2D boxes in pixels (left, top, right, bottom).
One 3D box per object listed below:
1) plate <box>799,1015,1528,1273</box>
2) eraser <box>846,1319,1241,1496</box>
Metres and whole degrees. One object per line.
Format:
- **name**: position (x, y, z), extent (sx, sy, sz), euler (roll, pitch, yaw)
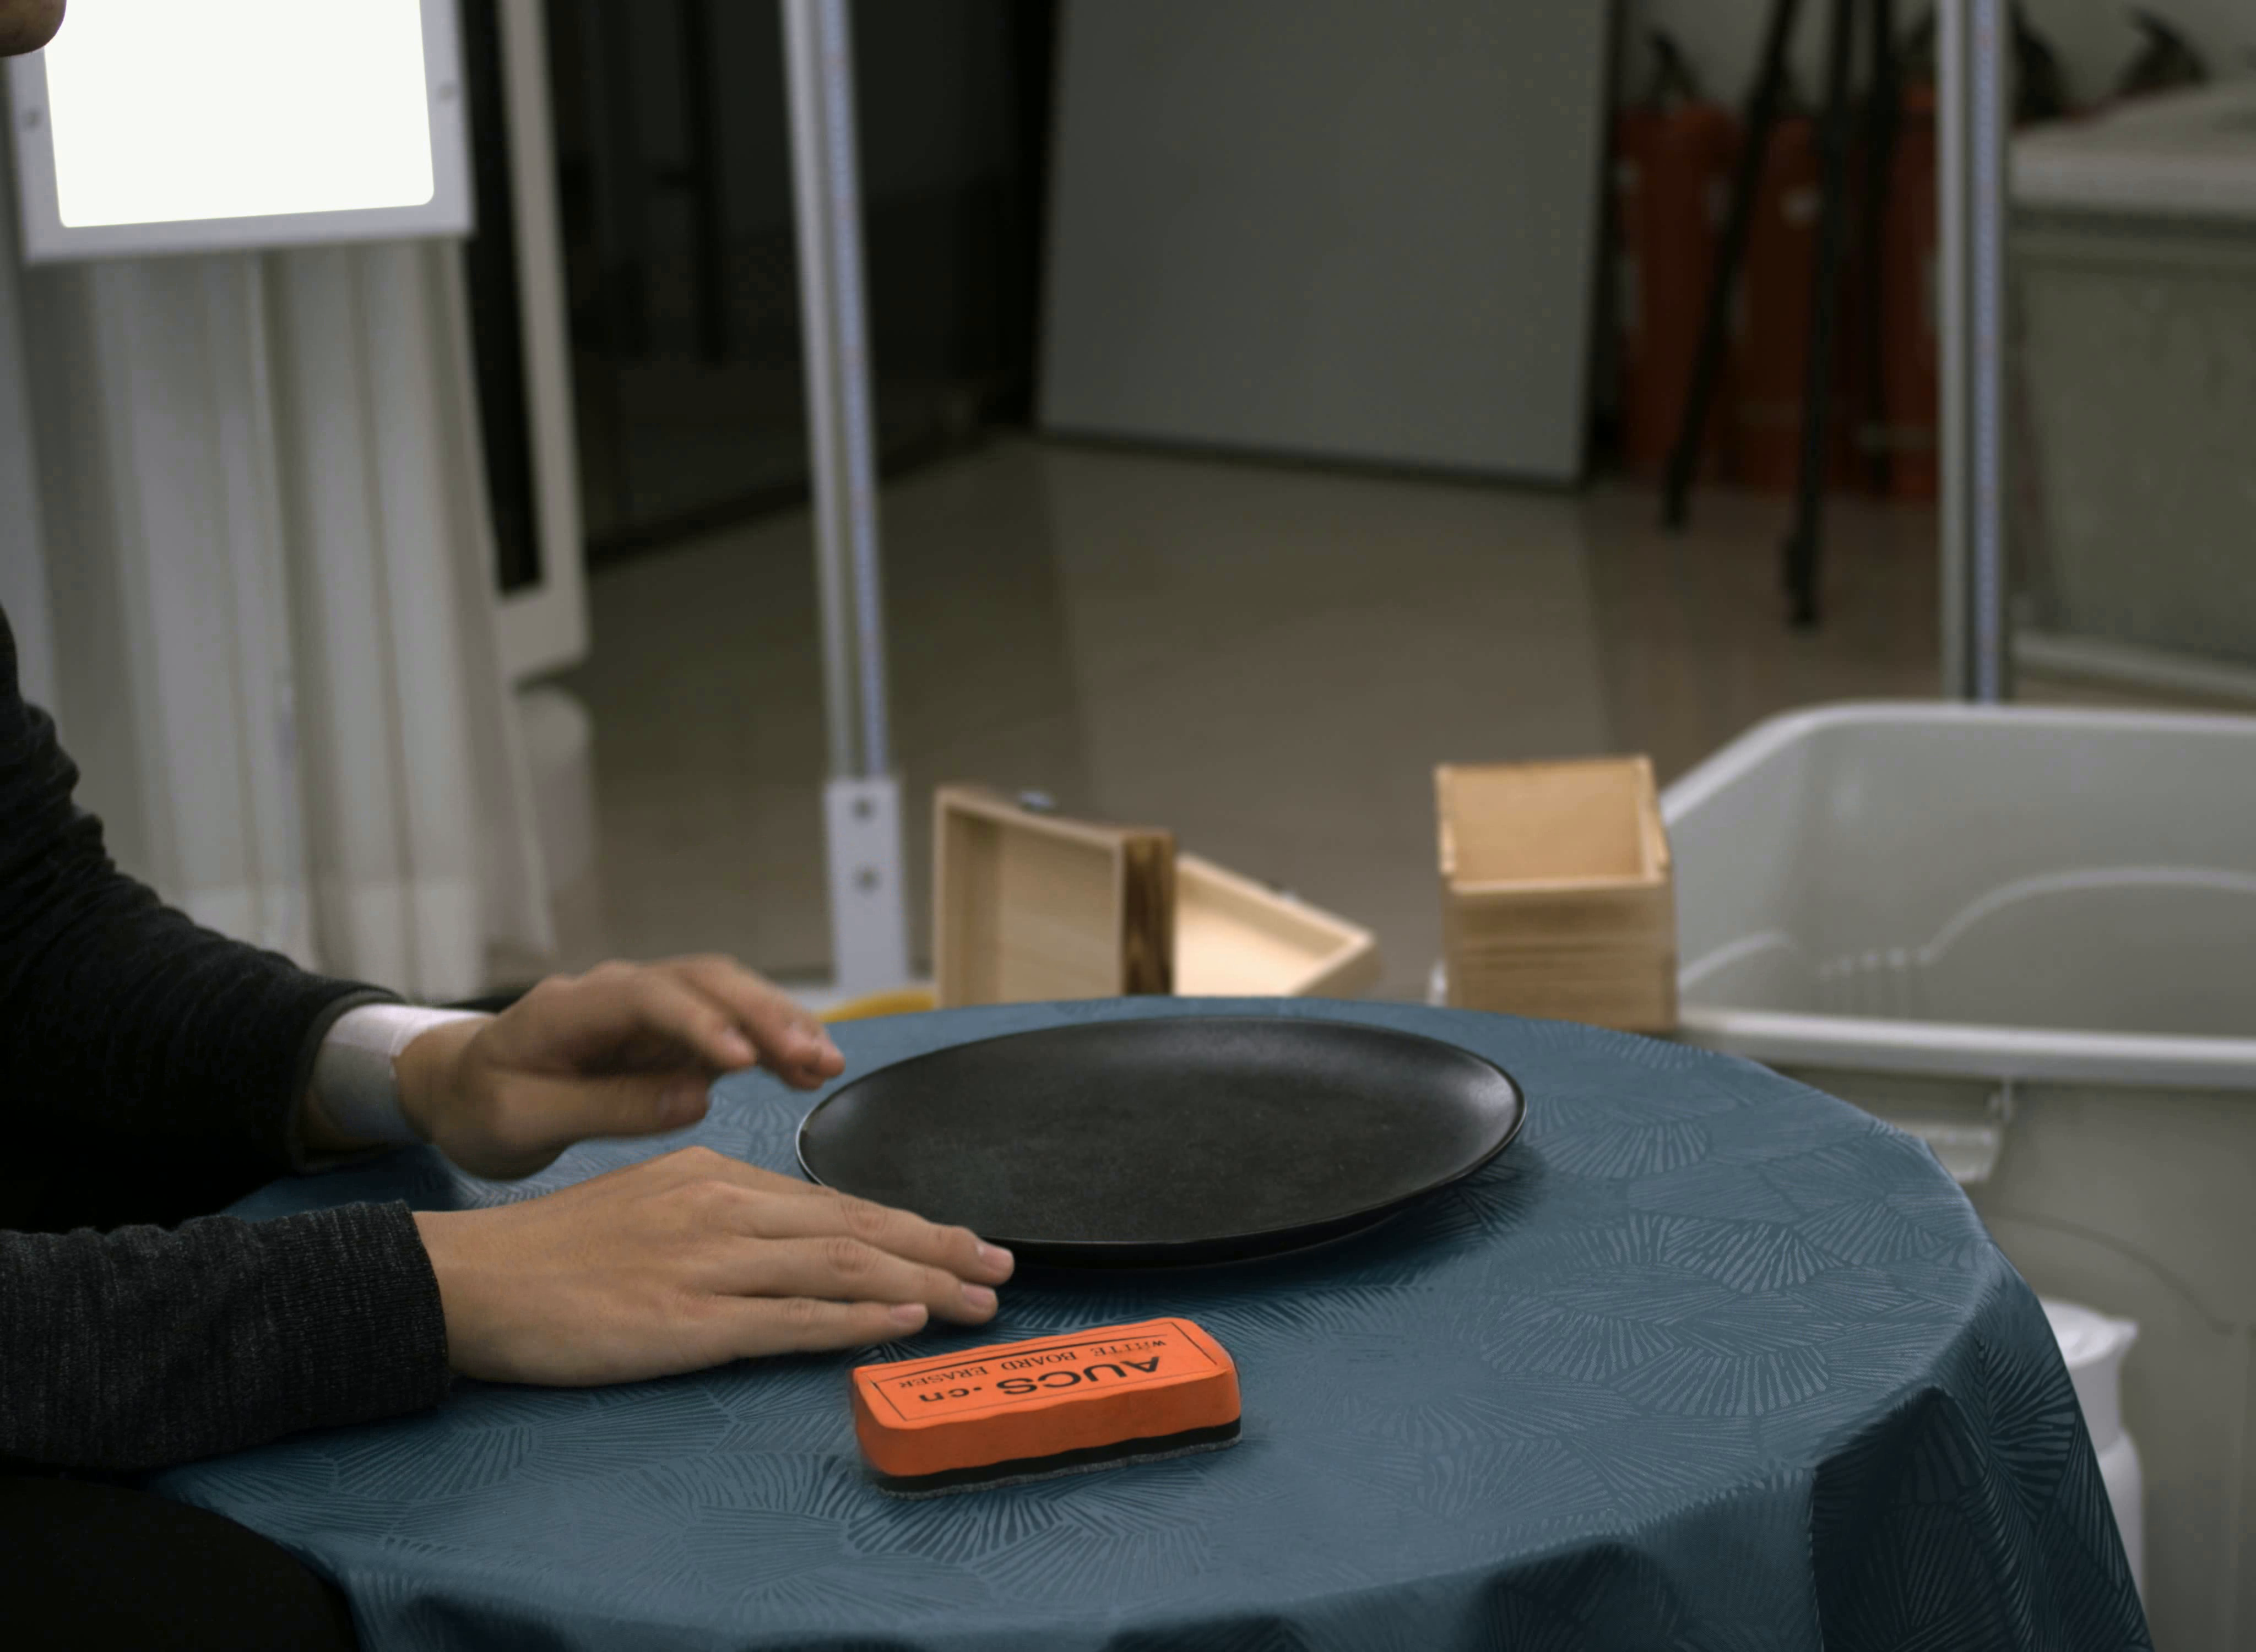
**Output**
- **plate**: position (0.012, 0.107, 1.775), extent (0.241, 0.024, 0.245), euler (-5, 14, 0)
- **eraser**: position (-0.024, 0.166, 1.544), extent (0.106, 0.023, 0.059), euler (-8, 12, -14)
